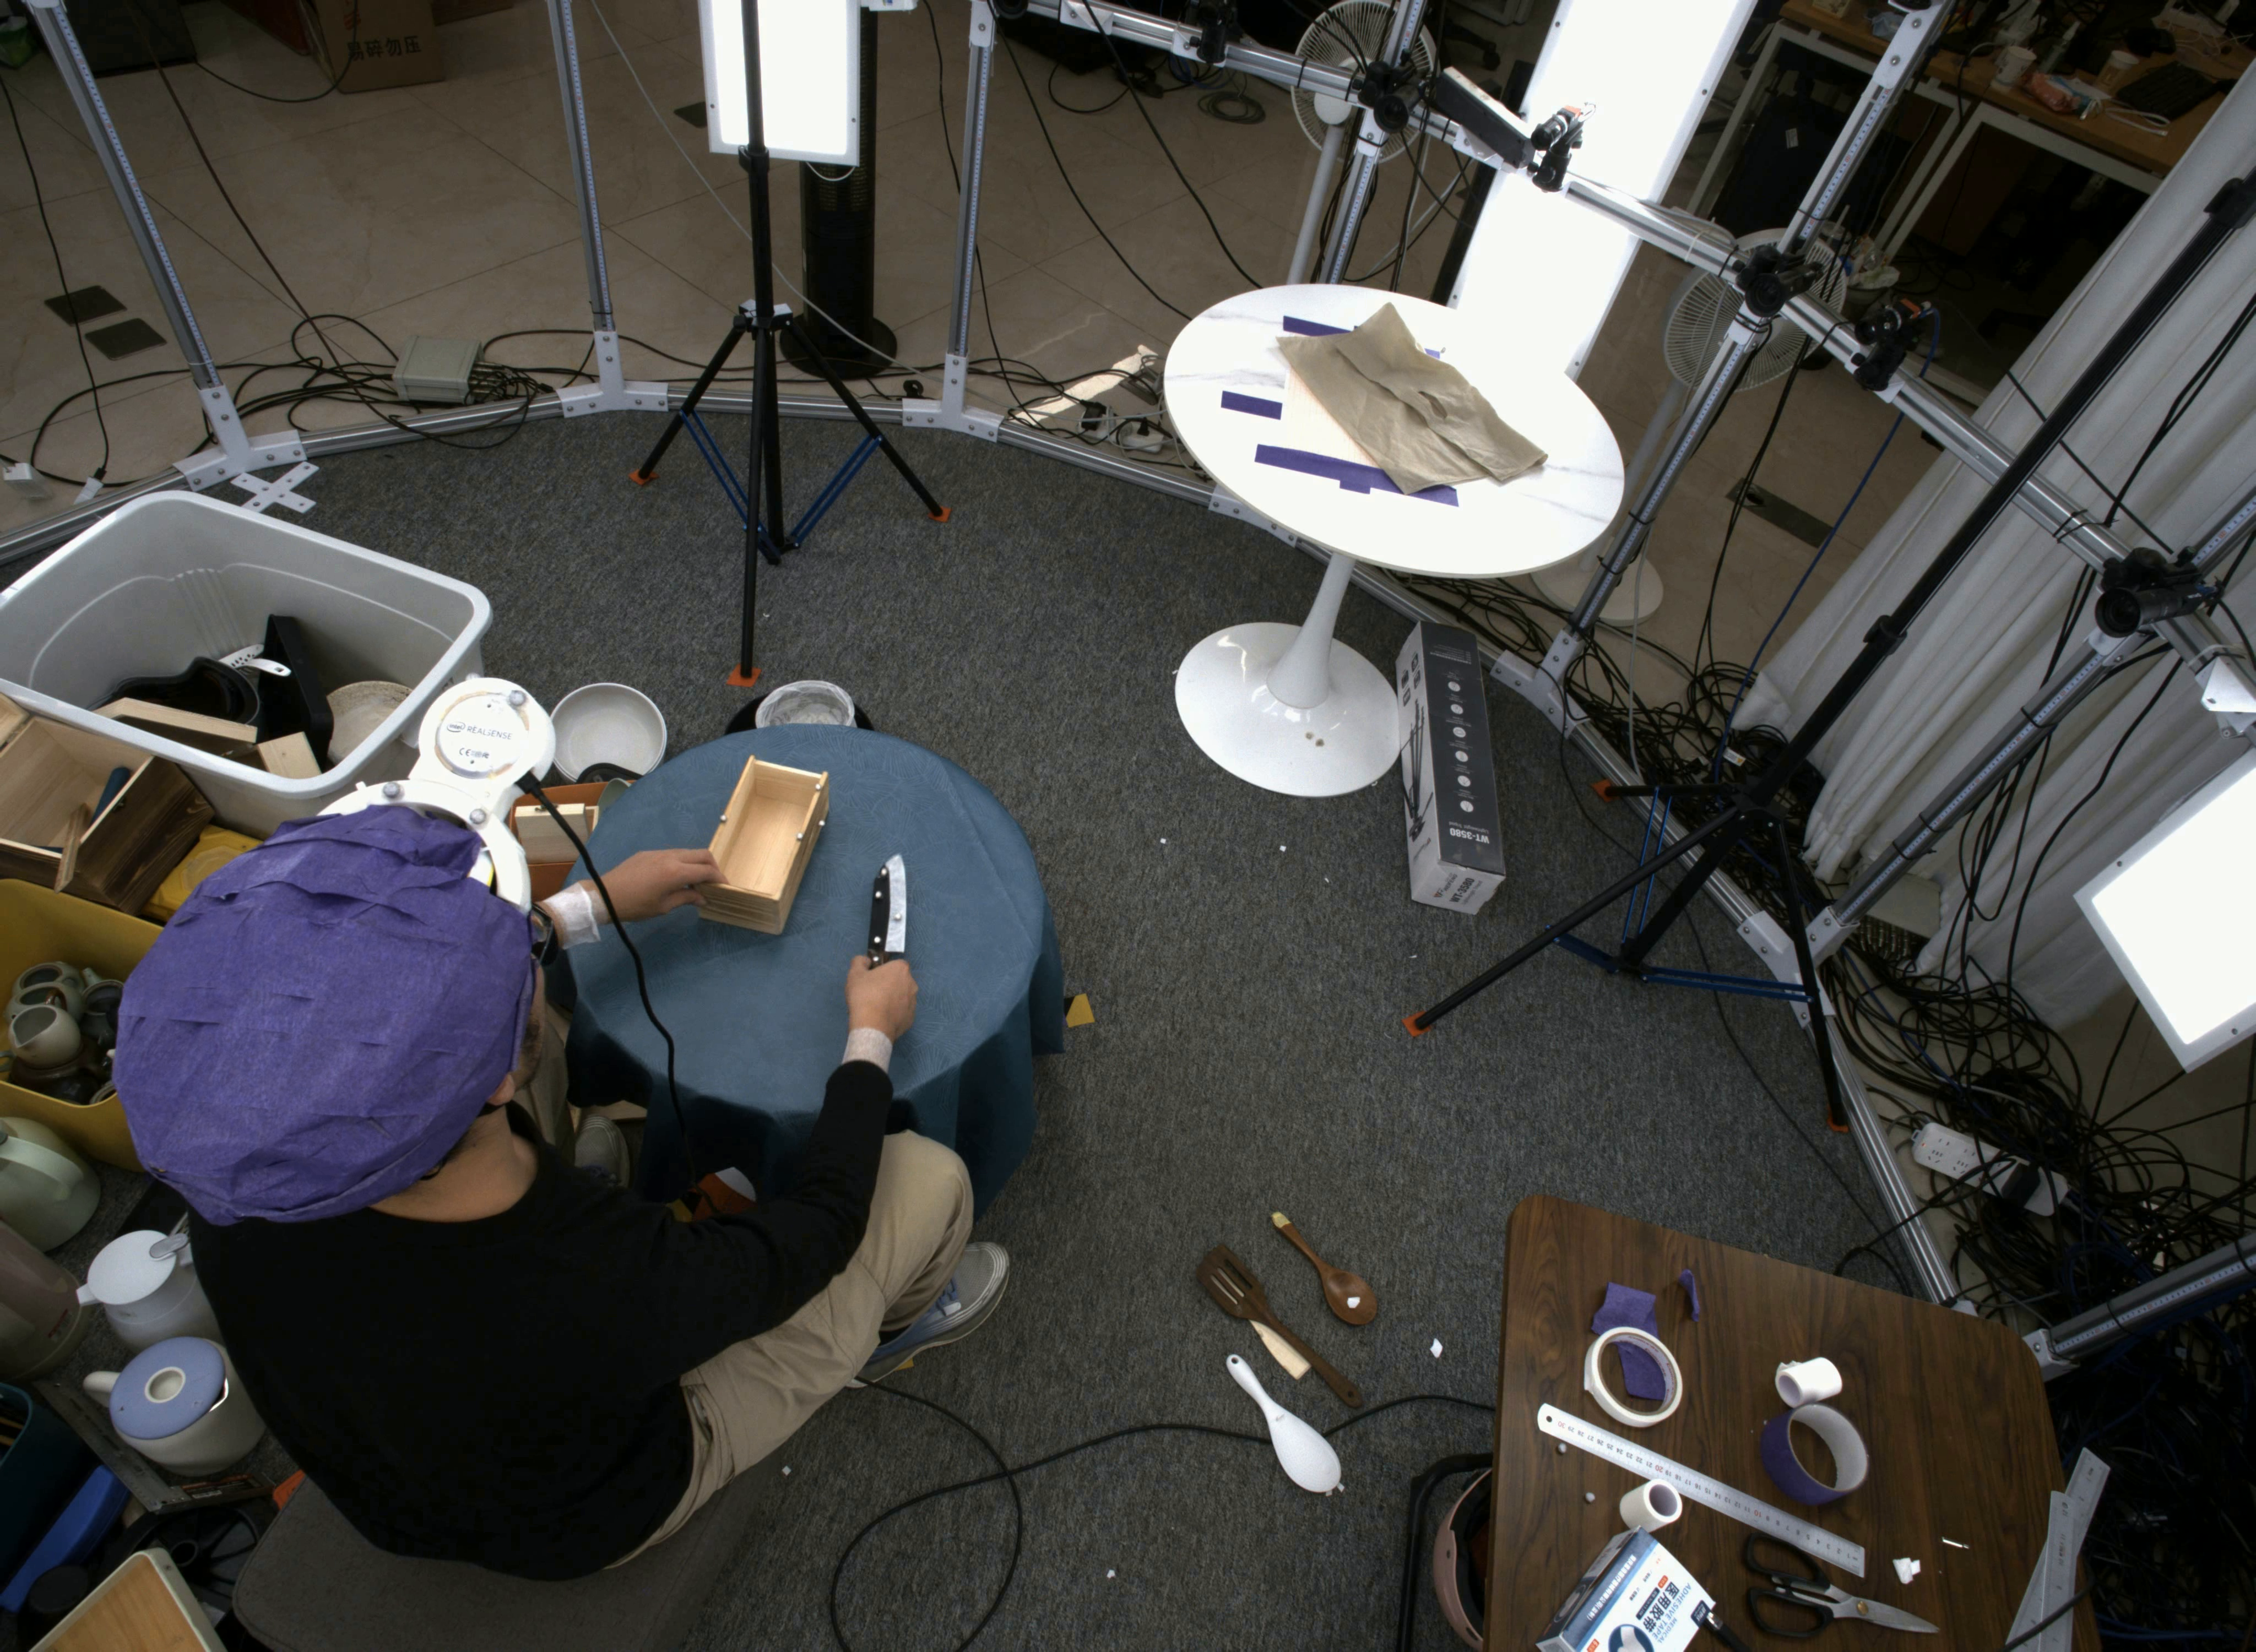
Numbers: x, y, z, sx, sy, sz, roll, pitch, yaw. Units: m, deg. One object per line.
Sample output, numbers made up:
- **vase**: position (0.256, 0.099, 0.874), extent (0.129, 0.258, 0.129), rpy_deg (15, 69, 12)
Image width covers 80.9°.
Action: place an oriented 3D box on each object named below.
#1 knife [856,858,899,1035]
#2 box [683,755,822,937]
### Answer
- **knife**: position (-0.306, 0.137, 1.593), extent (0.050, 0.020, 0.282), rpy_deg (4, 43, -8)
- **box**: position (-0.472, 0.022, 1.638), extent (0.107, 0.082, 0.208), rpy_deg (13, 51, -3)
